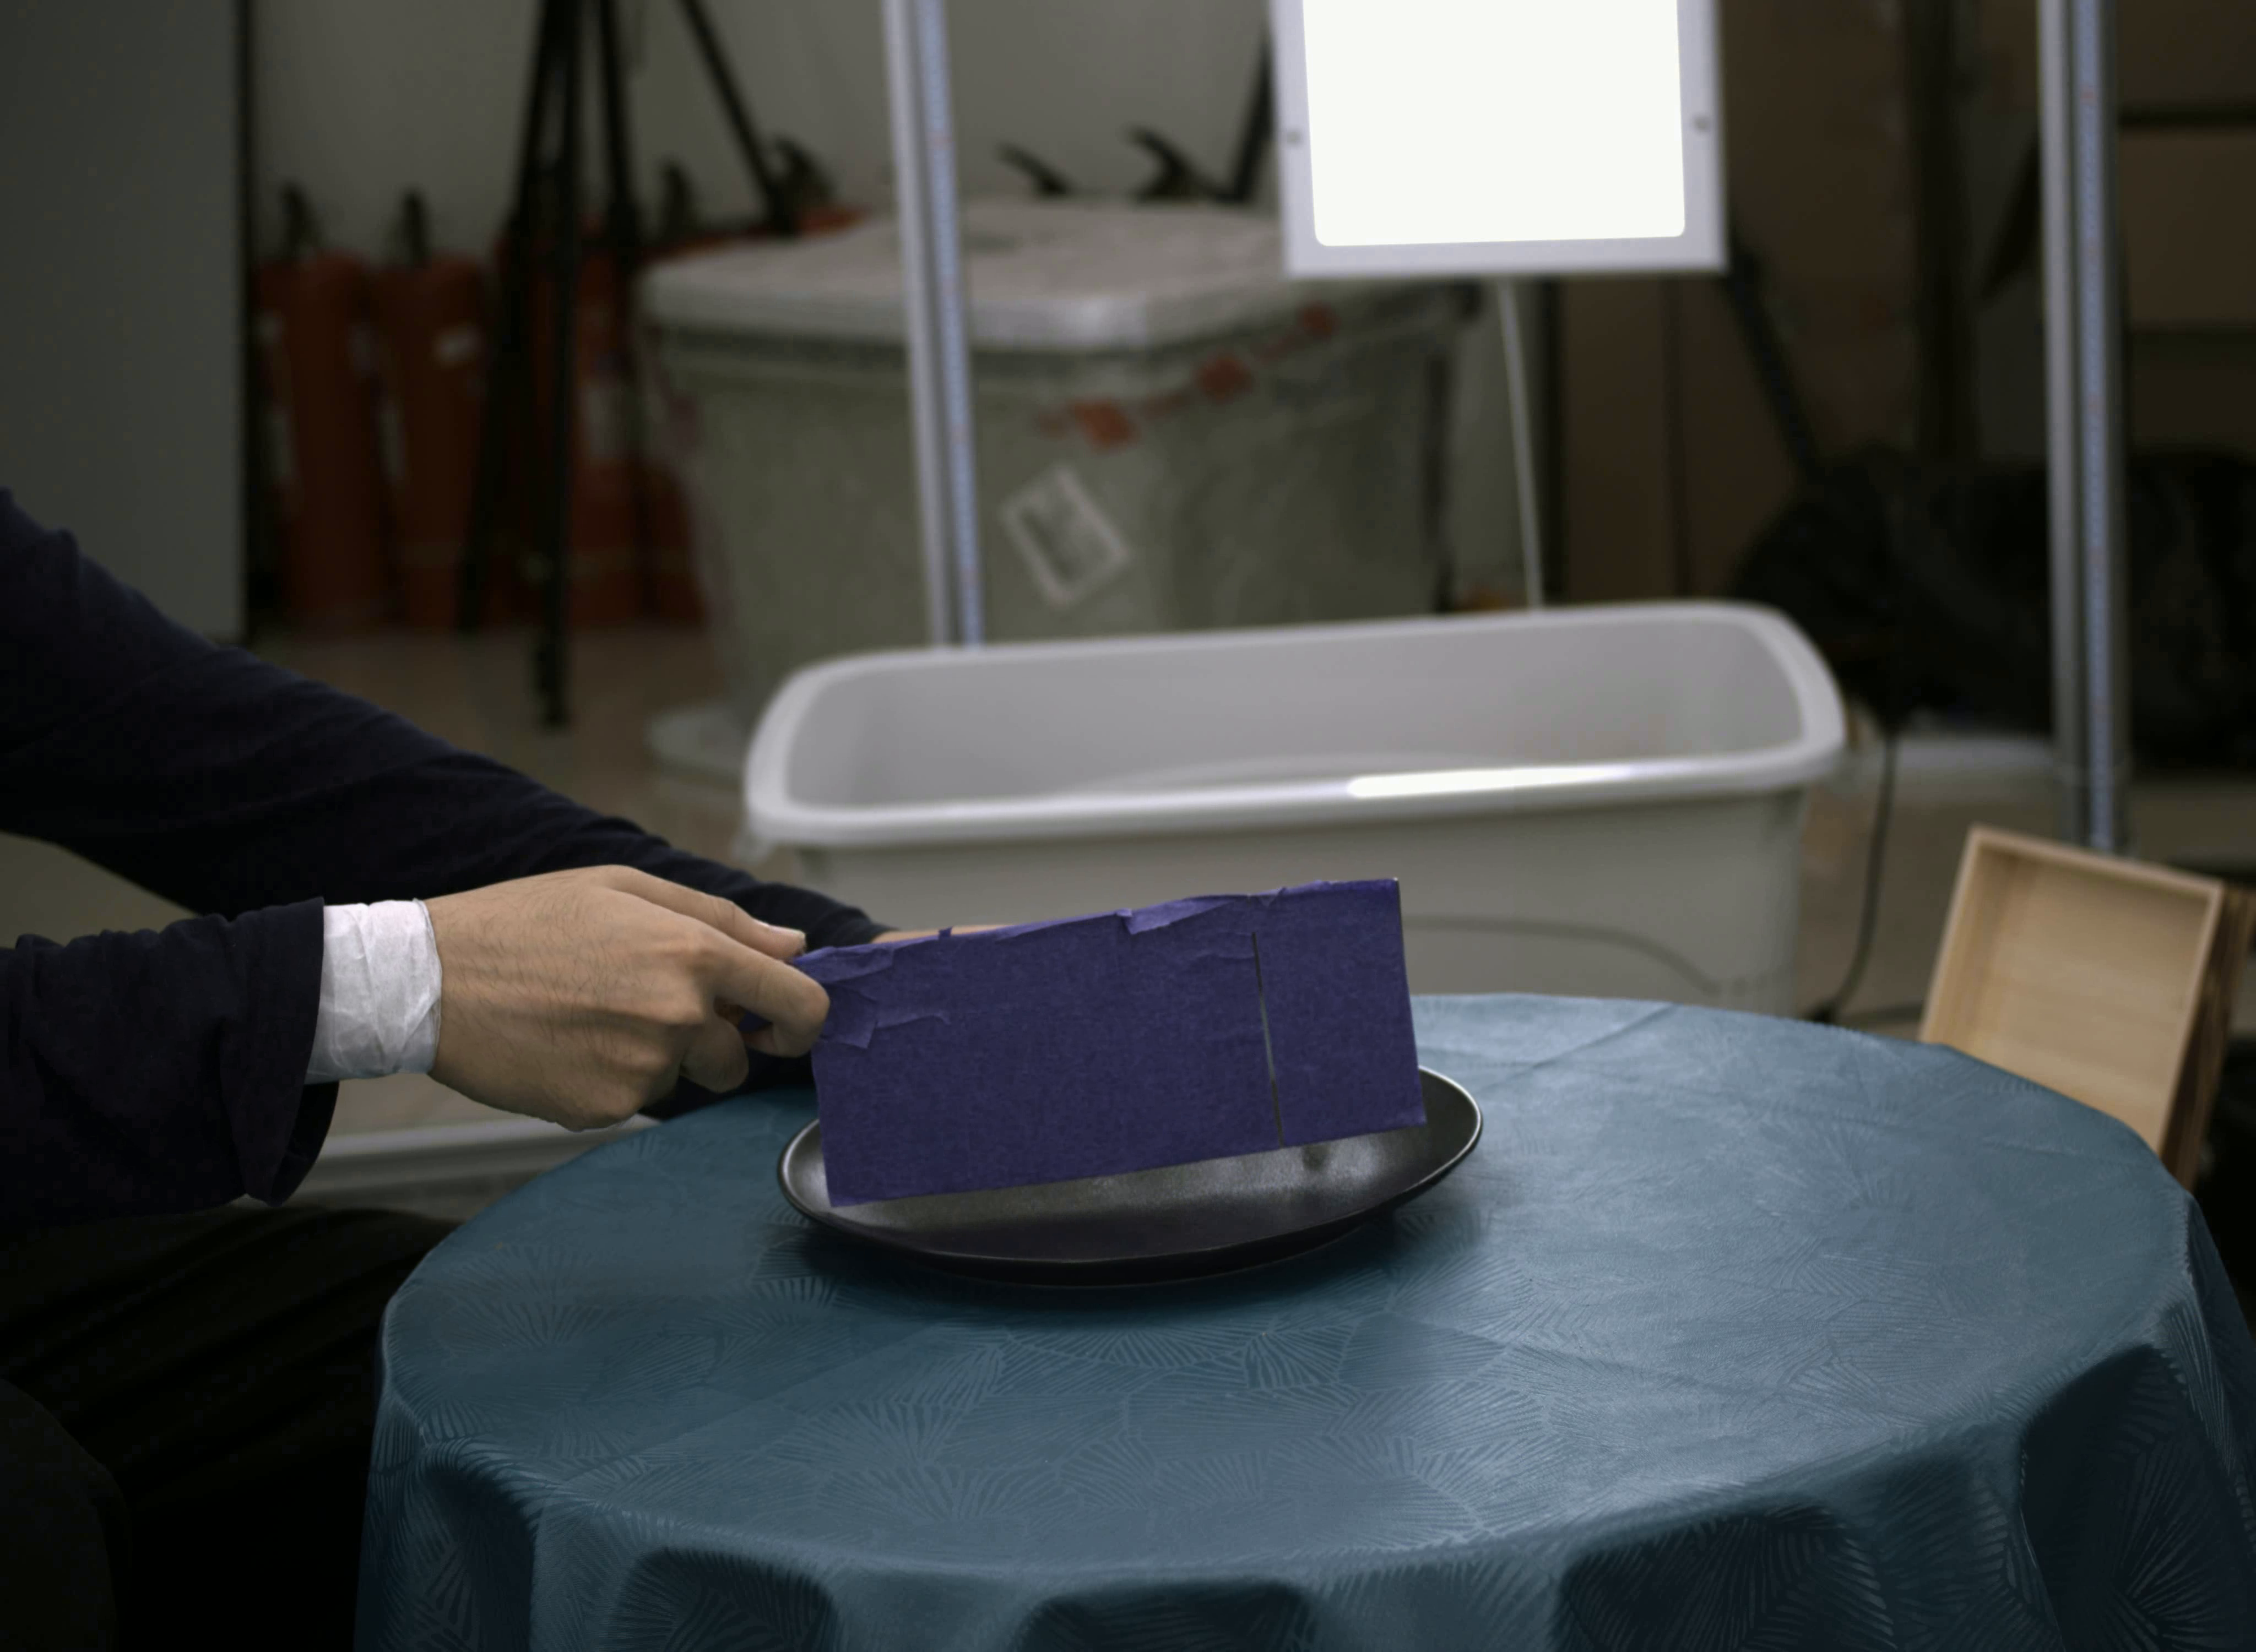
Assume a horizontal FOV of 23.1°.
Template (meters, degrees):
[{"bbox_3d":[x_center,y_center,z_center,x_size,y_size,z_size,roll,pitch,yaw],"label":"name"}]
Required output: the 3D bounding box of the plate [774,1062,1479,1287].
[{"bbox_3d":[0.000,0.118,1.886,0.244,0.023,0.244,-5,14,0],"label":"plate"}]

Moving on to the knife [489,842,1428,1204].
[{"bbox_3d":[-0.053,0.078,1.851,0.313,0.104,0.032,-8,11,-3],"label":"knife"}]
